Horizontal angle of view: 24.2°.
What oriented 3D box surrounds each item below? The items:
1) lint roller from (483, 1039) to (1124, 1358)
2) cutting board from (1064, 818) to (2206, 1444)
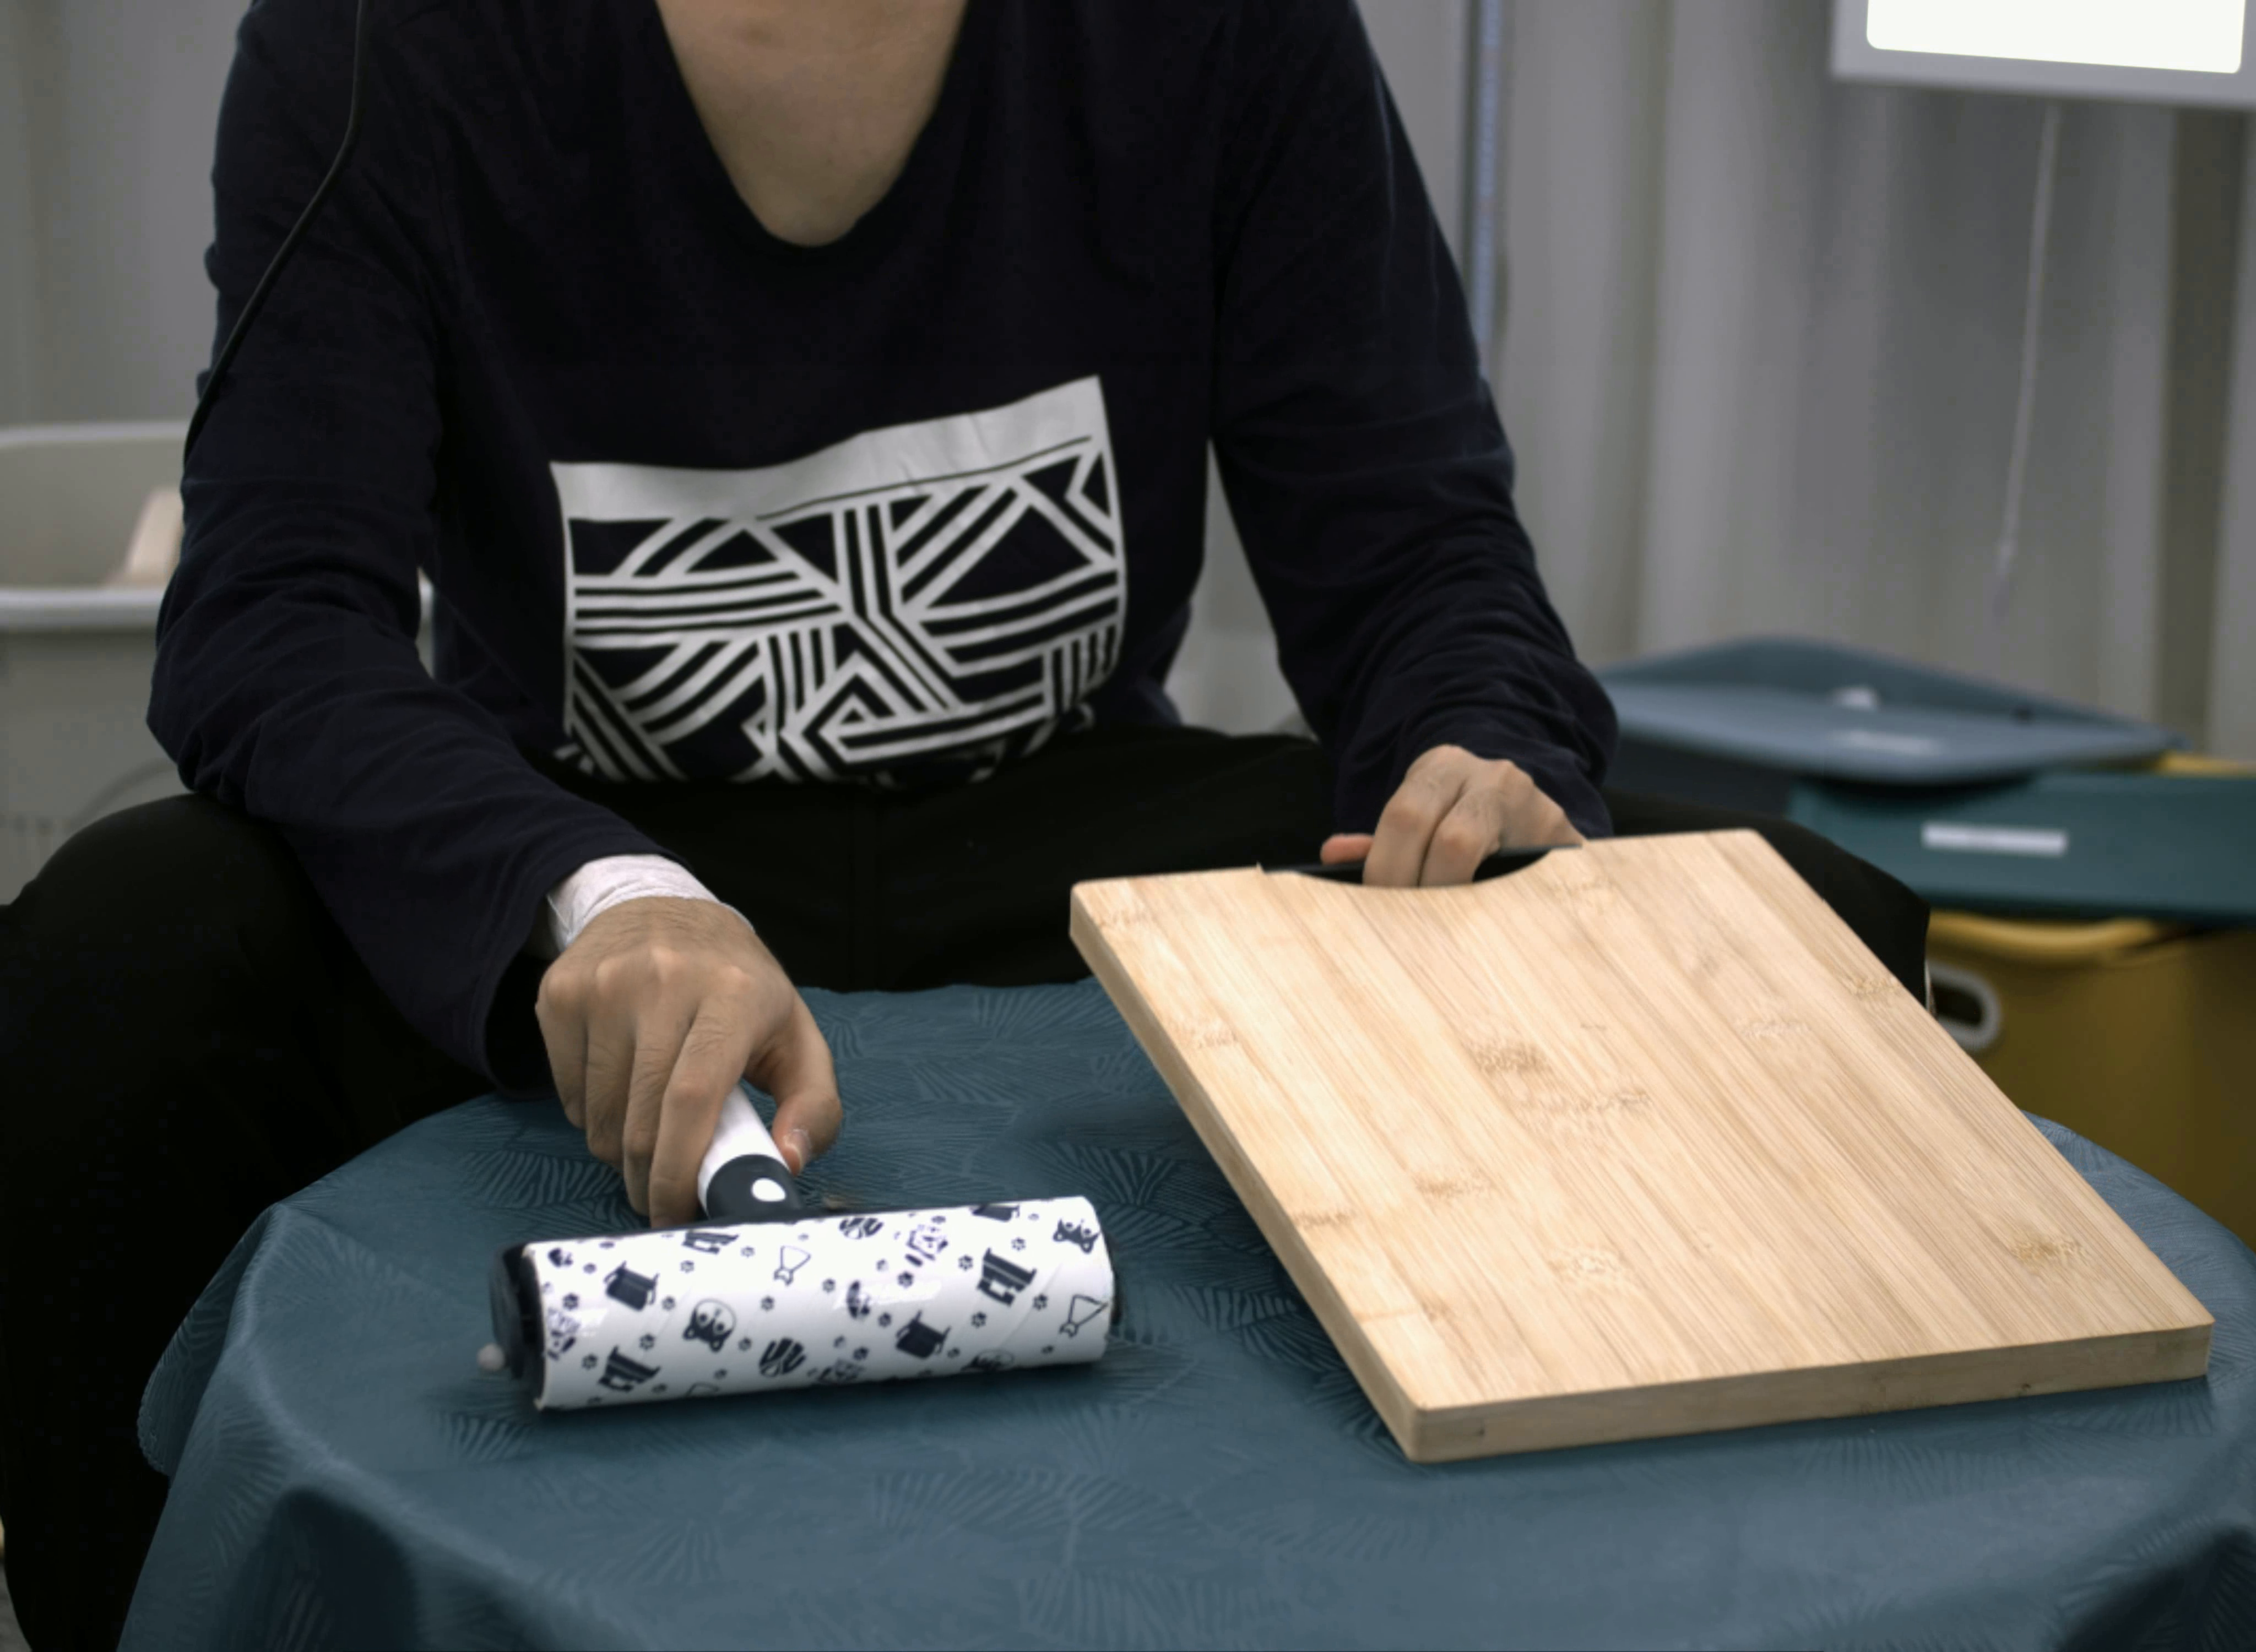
[{"bbox_3d":[-0.107,0.098,1.549,0.176,0.051,0.245,-1,14,-10],"label":"lint roller"},{"bbox_3d":[0.141,0.084,1.593,0.251,0.024,0.344,-4,26,-17],"label":"cutting board"}]
